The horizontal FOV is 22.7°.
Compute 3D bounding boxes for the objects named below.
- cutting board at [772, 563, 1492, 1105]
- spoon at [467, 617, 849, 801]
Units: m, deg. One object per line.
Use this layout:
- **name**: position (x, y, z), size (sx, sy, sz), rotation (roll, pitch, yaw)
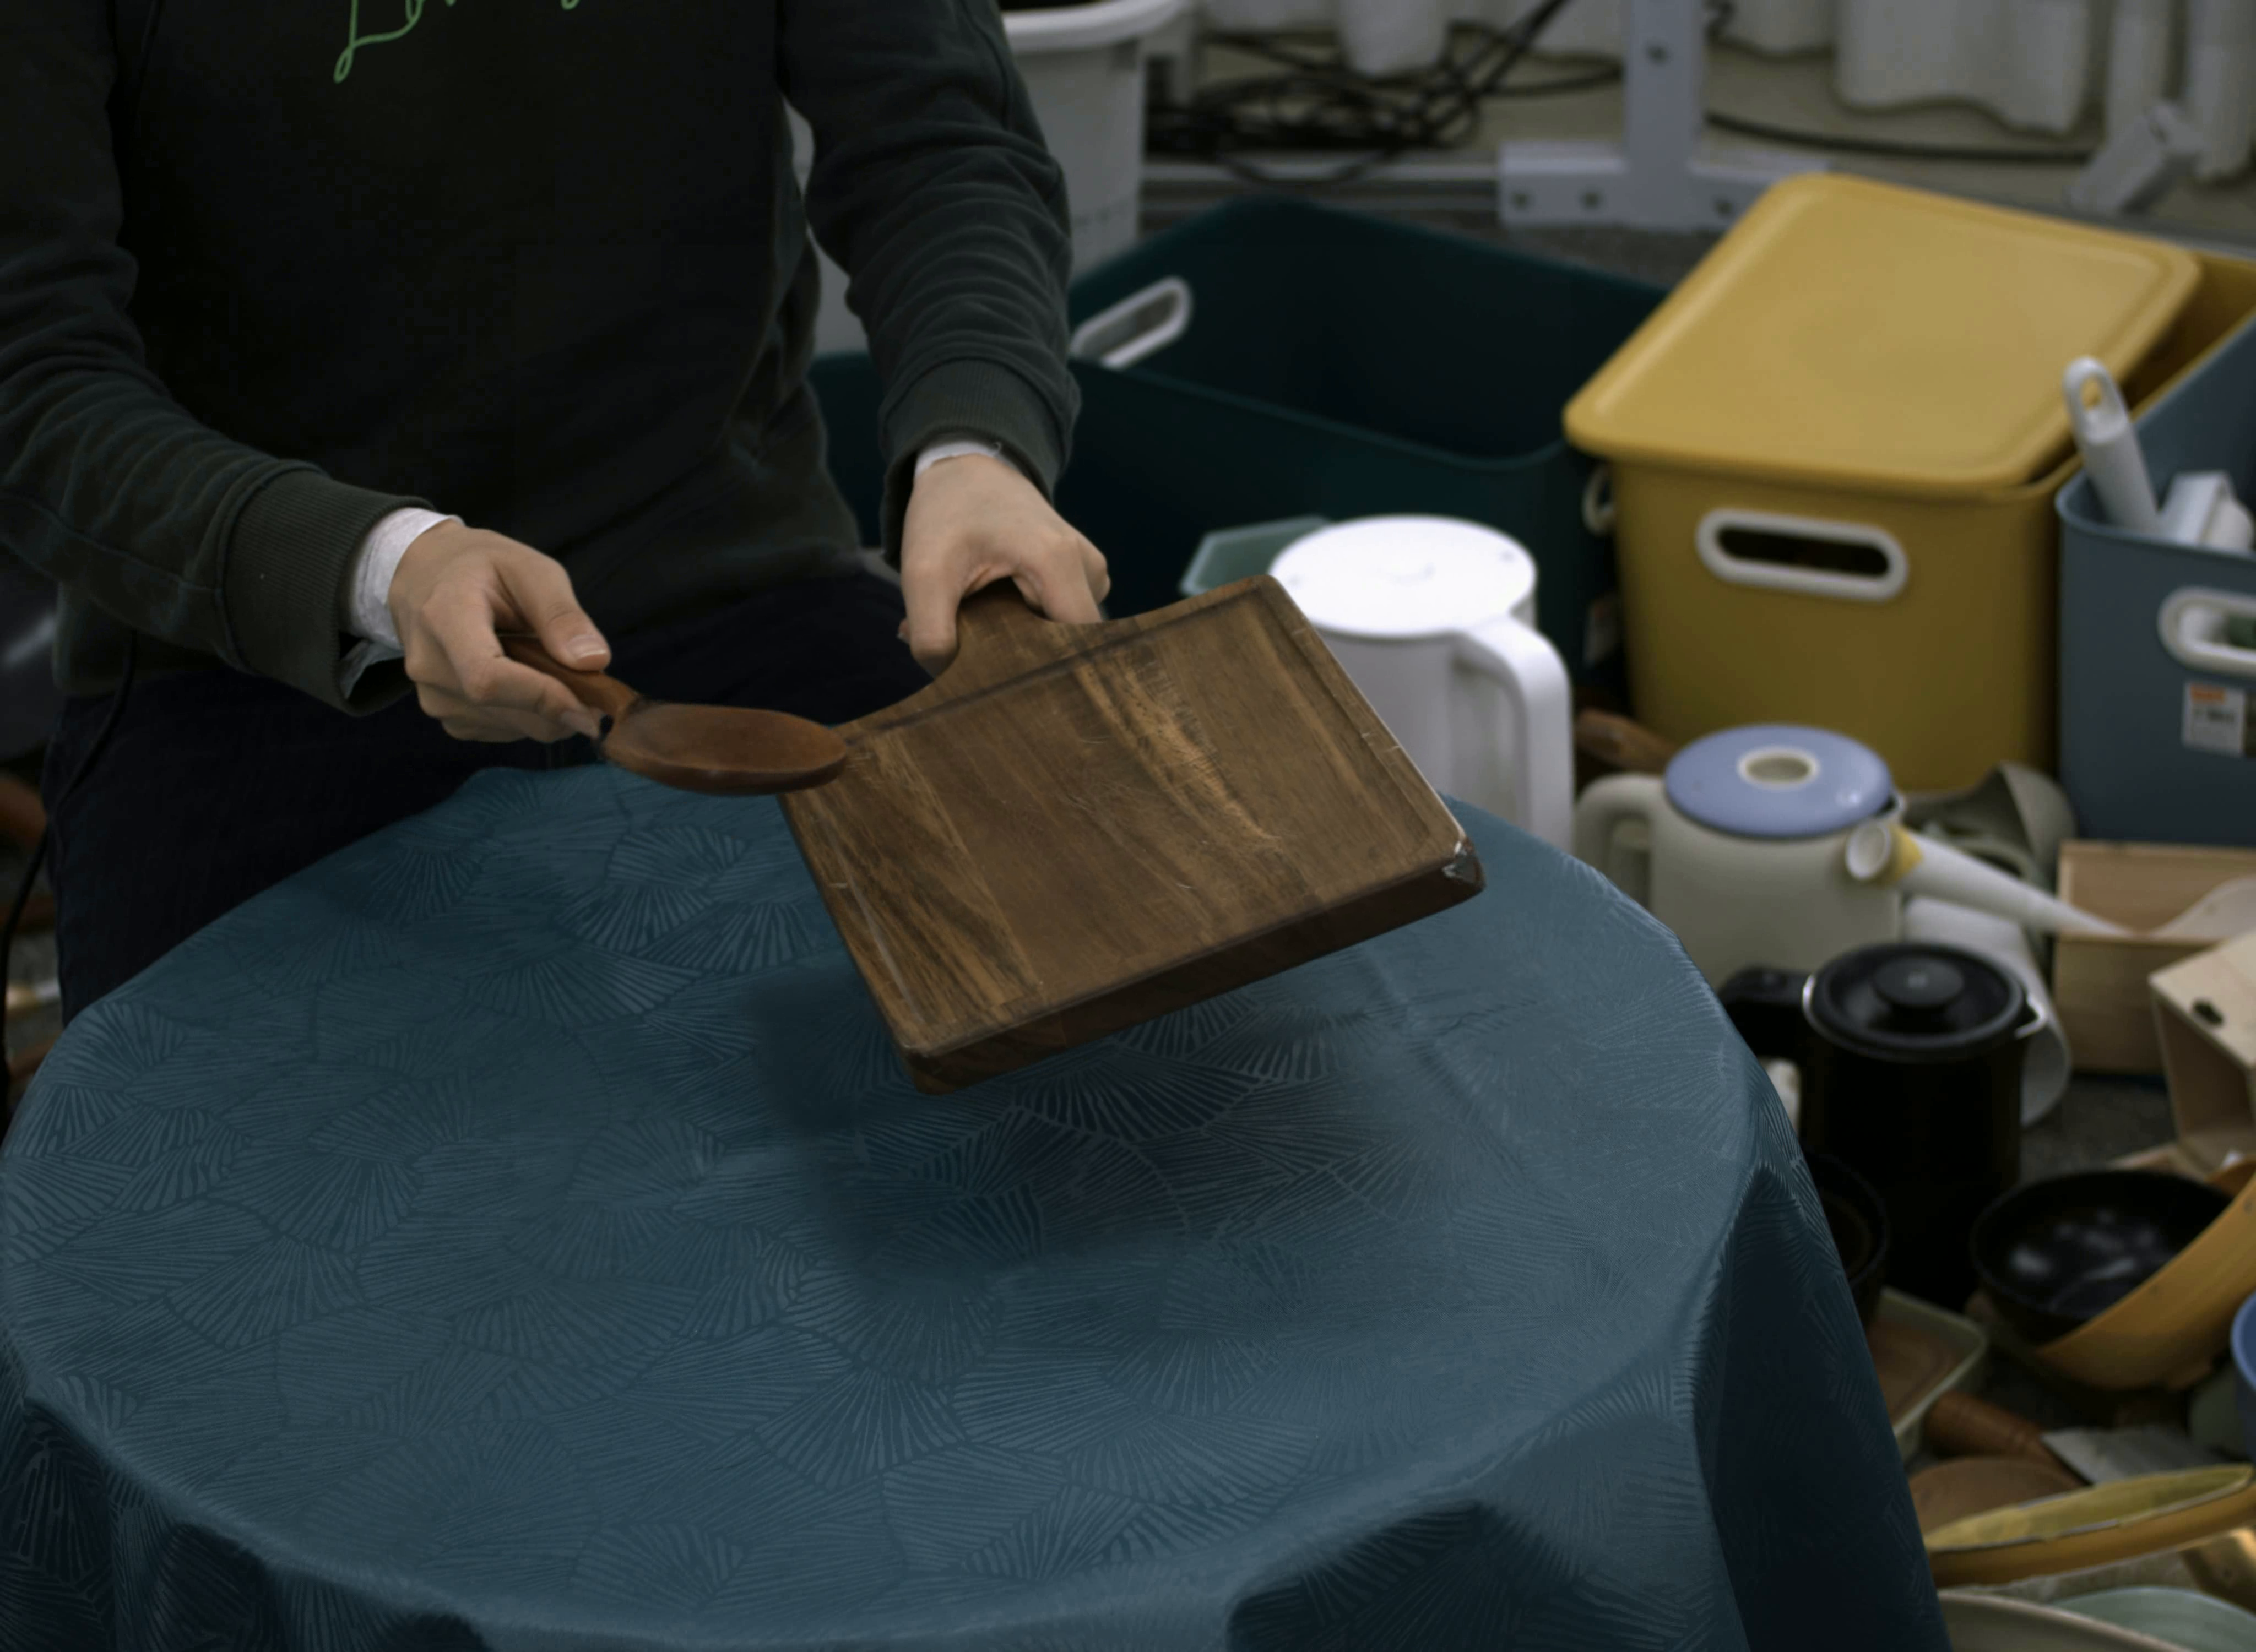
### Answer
- **cutting board**: position (-0.017, -0.020, 1.938), size (0.201, 0.023, 0.355), rotation (-21, 26, -6)
- **spoon**: position (-0.167, -0.039, 1.902), size (0.076, 0.017, 0.216), rotation (-10, 21, -32)
